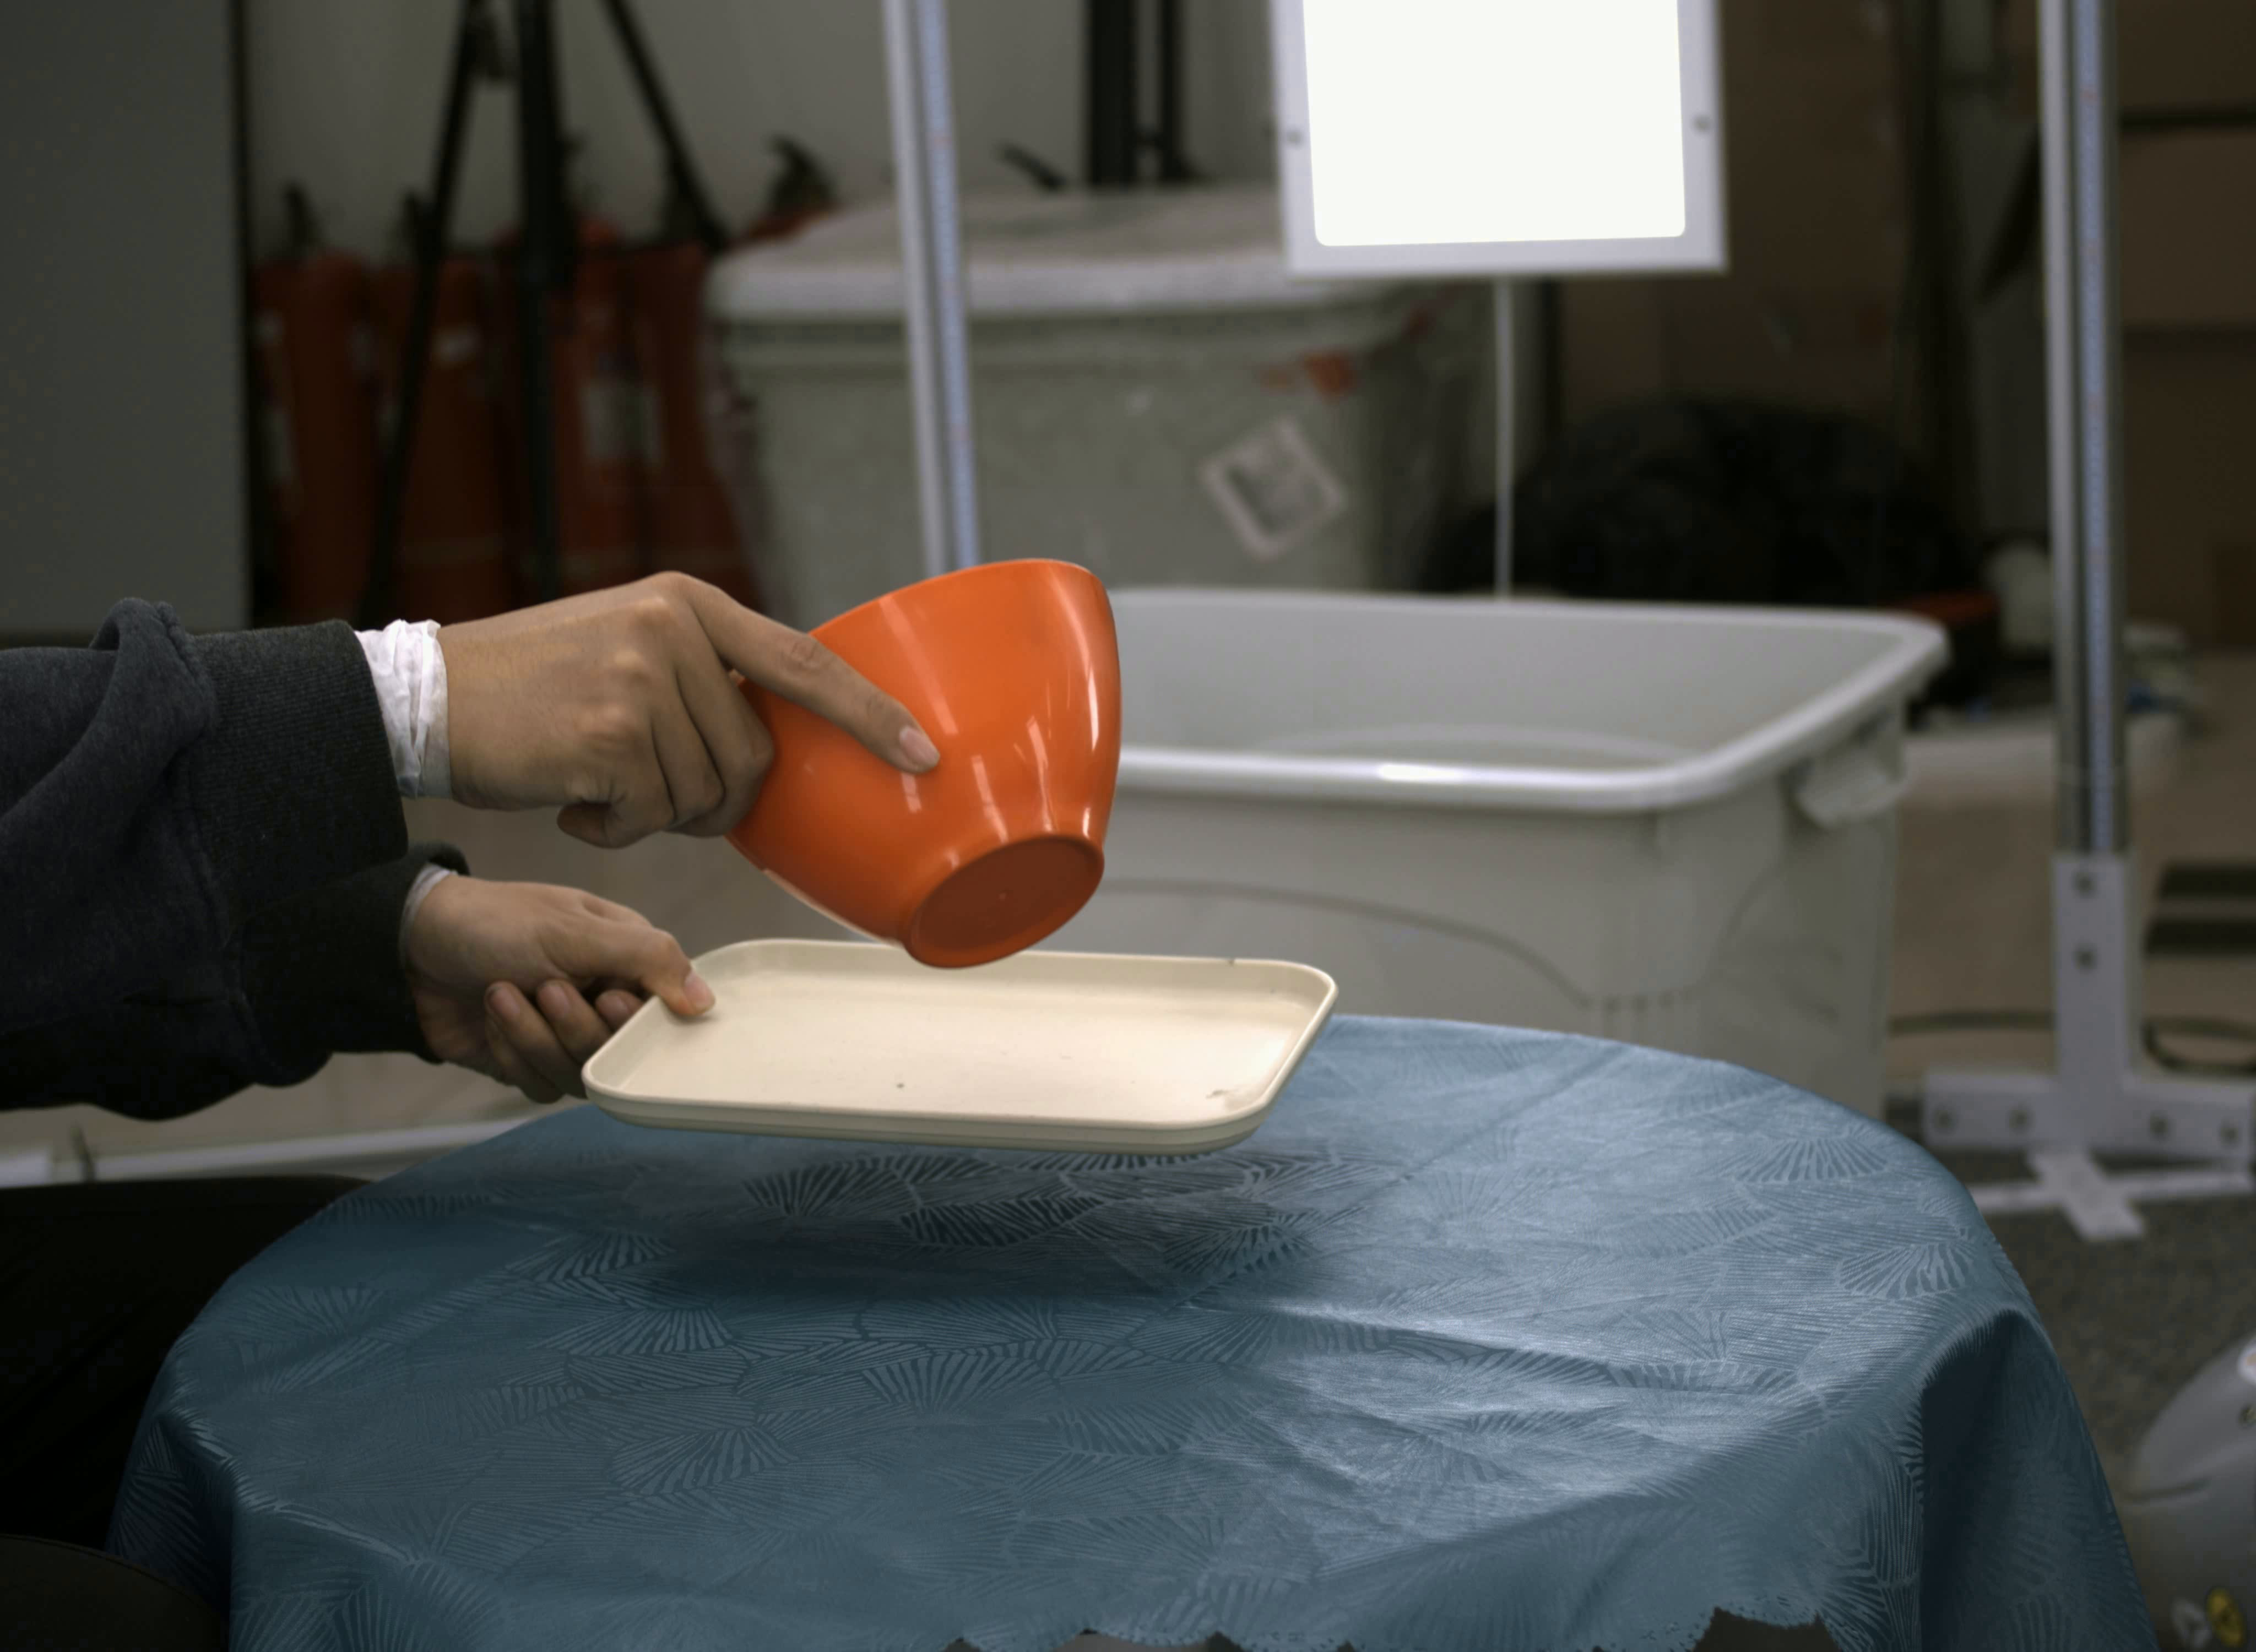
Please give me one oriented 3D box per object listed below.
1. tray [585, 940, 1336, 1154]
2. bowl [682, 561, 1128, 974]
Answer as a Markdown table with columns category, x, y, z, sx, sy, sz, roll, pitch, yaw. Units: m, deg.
| category | x | y | z | sx | sy | sz | roll | pitch | yaw |
| --- | --- | --- | --- | --- | --- | --- | --- | --- | --- |
| tray | -0.055 | 0.076 | 1.891 | 0.242 | 0.017 | 0.169 | 2 | 18 | 16 |
| bowl | -0.056 | -0.009 | 1.698 | 0.145 | 0.150 | 0.105 | -10 | 57 | -24 |
